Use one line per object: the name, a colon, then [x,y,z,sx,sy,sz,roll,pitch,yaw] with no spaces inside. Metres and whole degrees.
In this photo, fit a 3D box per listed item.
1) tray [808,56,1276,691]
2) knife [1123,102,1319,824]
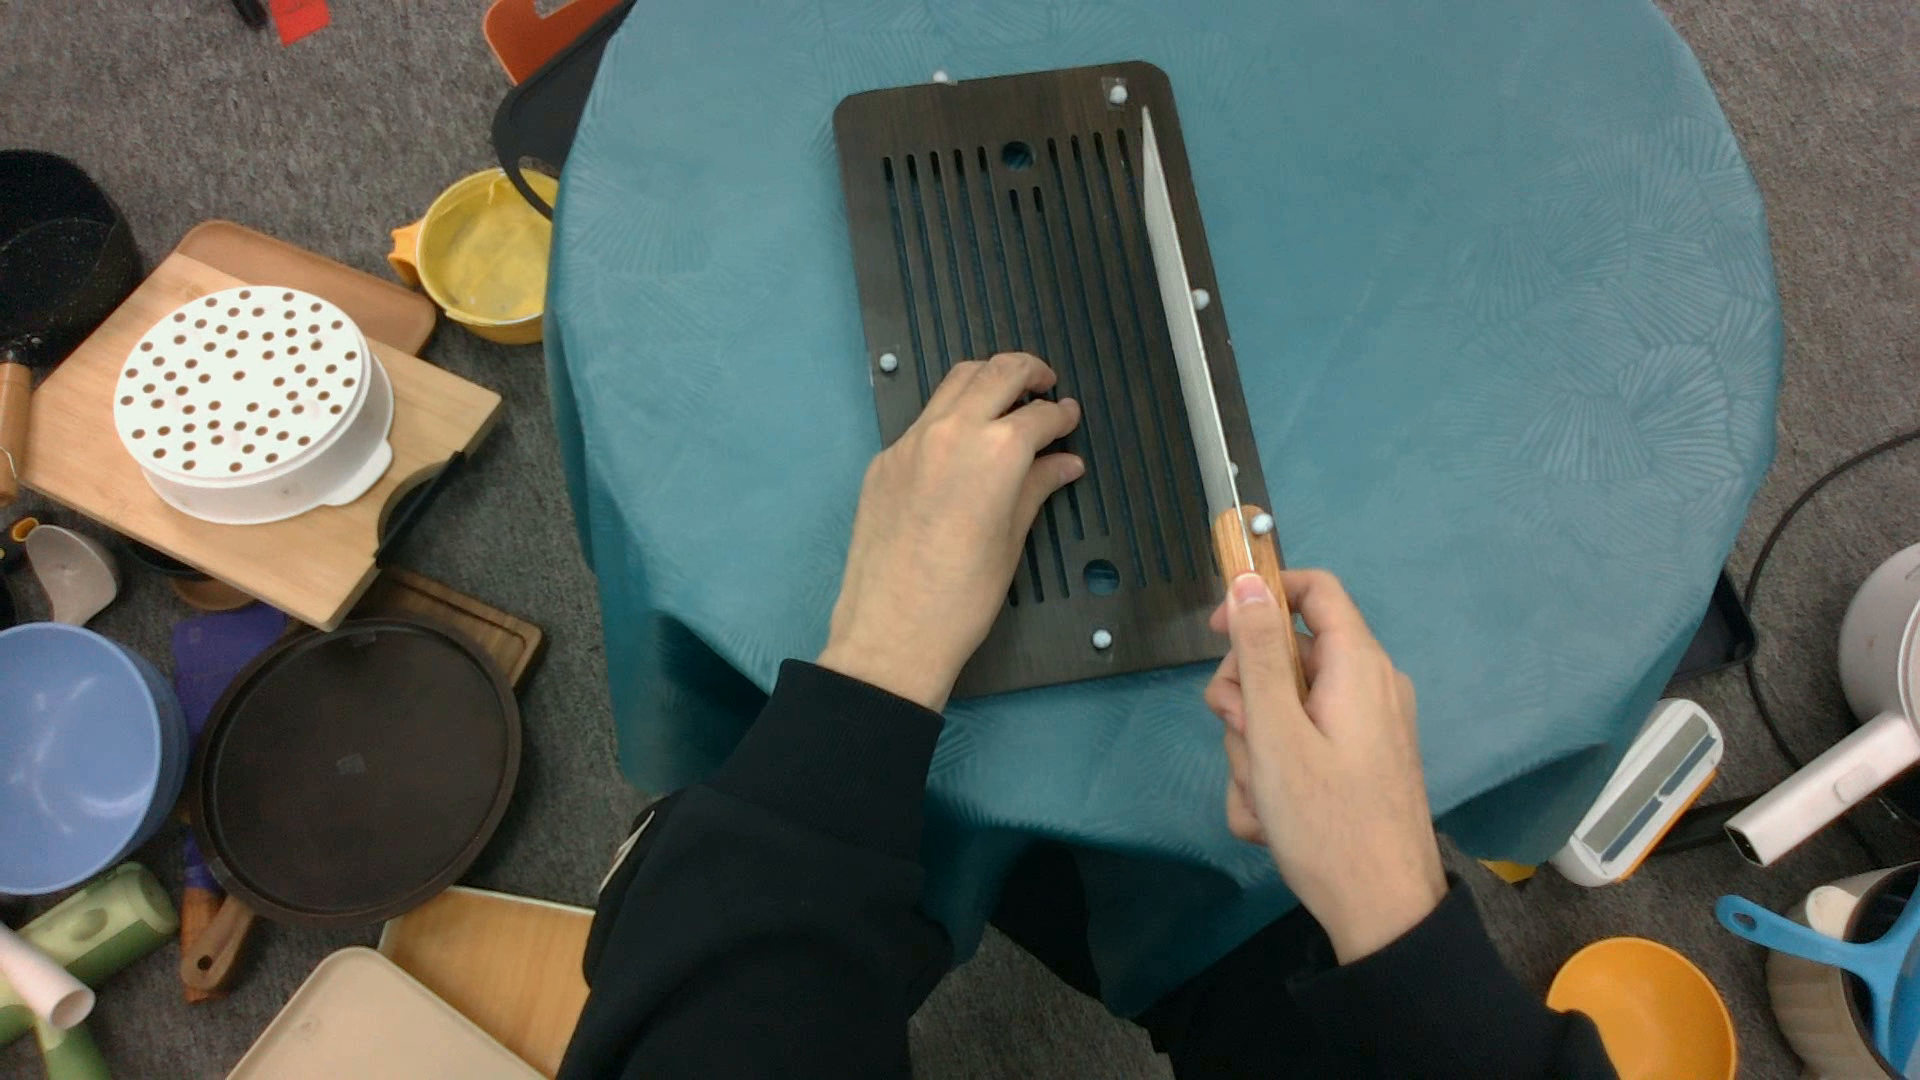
tray: [0.032,-0.088,0.643,0.170,0.018,0.306,-8,73,-6]
knife: [0.098,-0.033,0.566,0.021,0.092,0.306,-10,70,3]
